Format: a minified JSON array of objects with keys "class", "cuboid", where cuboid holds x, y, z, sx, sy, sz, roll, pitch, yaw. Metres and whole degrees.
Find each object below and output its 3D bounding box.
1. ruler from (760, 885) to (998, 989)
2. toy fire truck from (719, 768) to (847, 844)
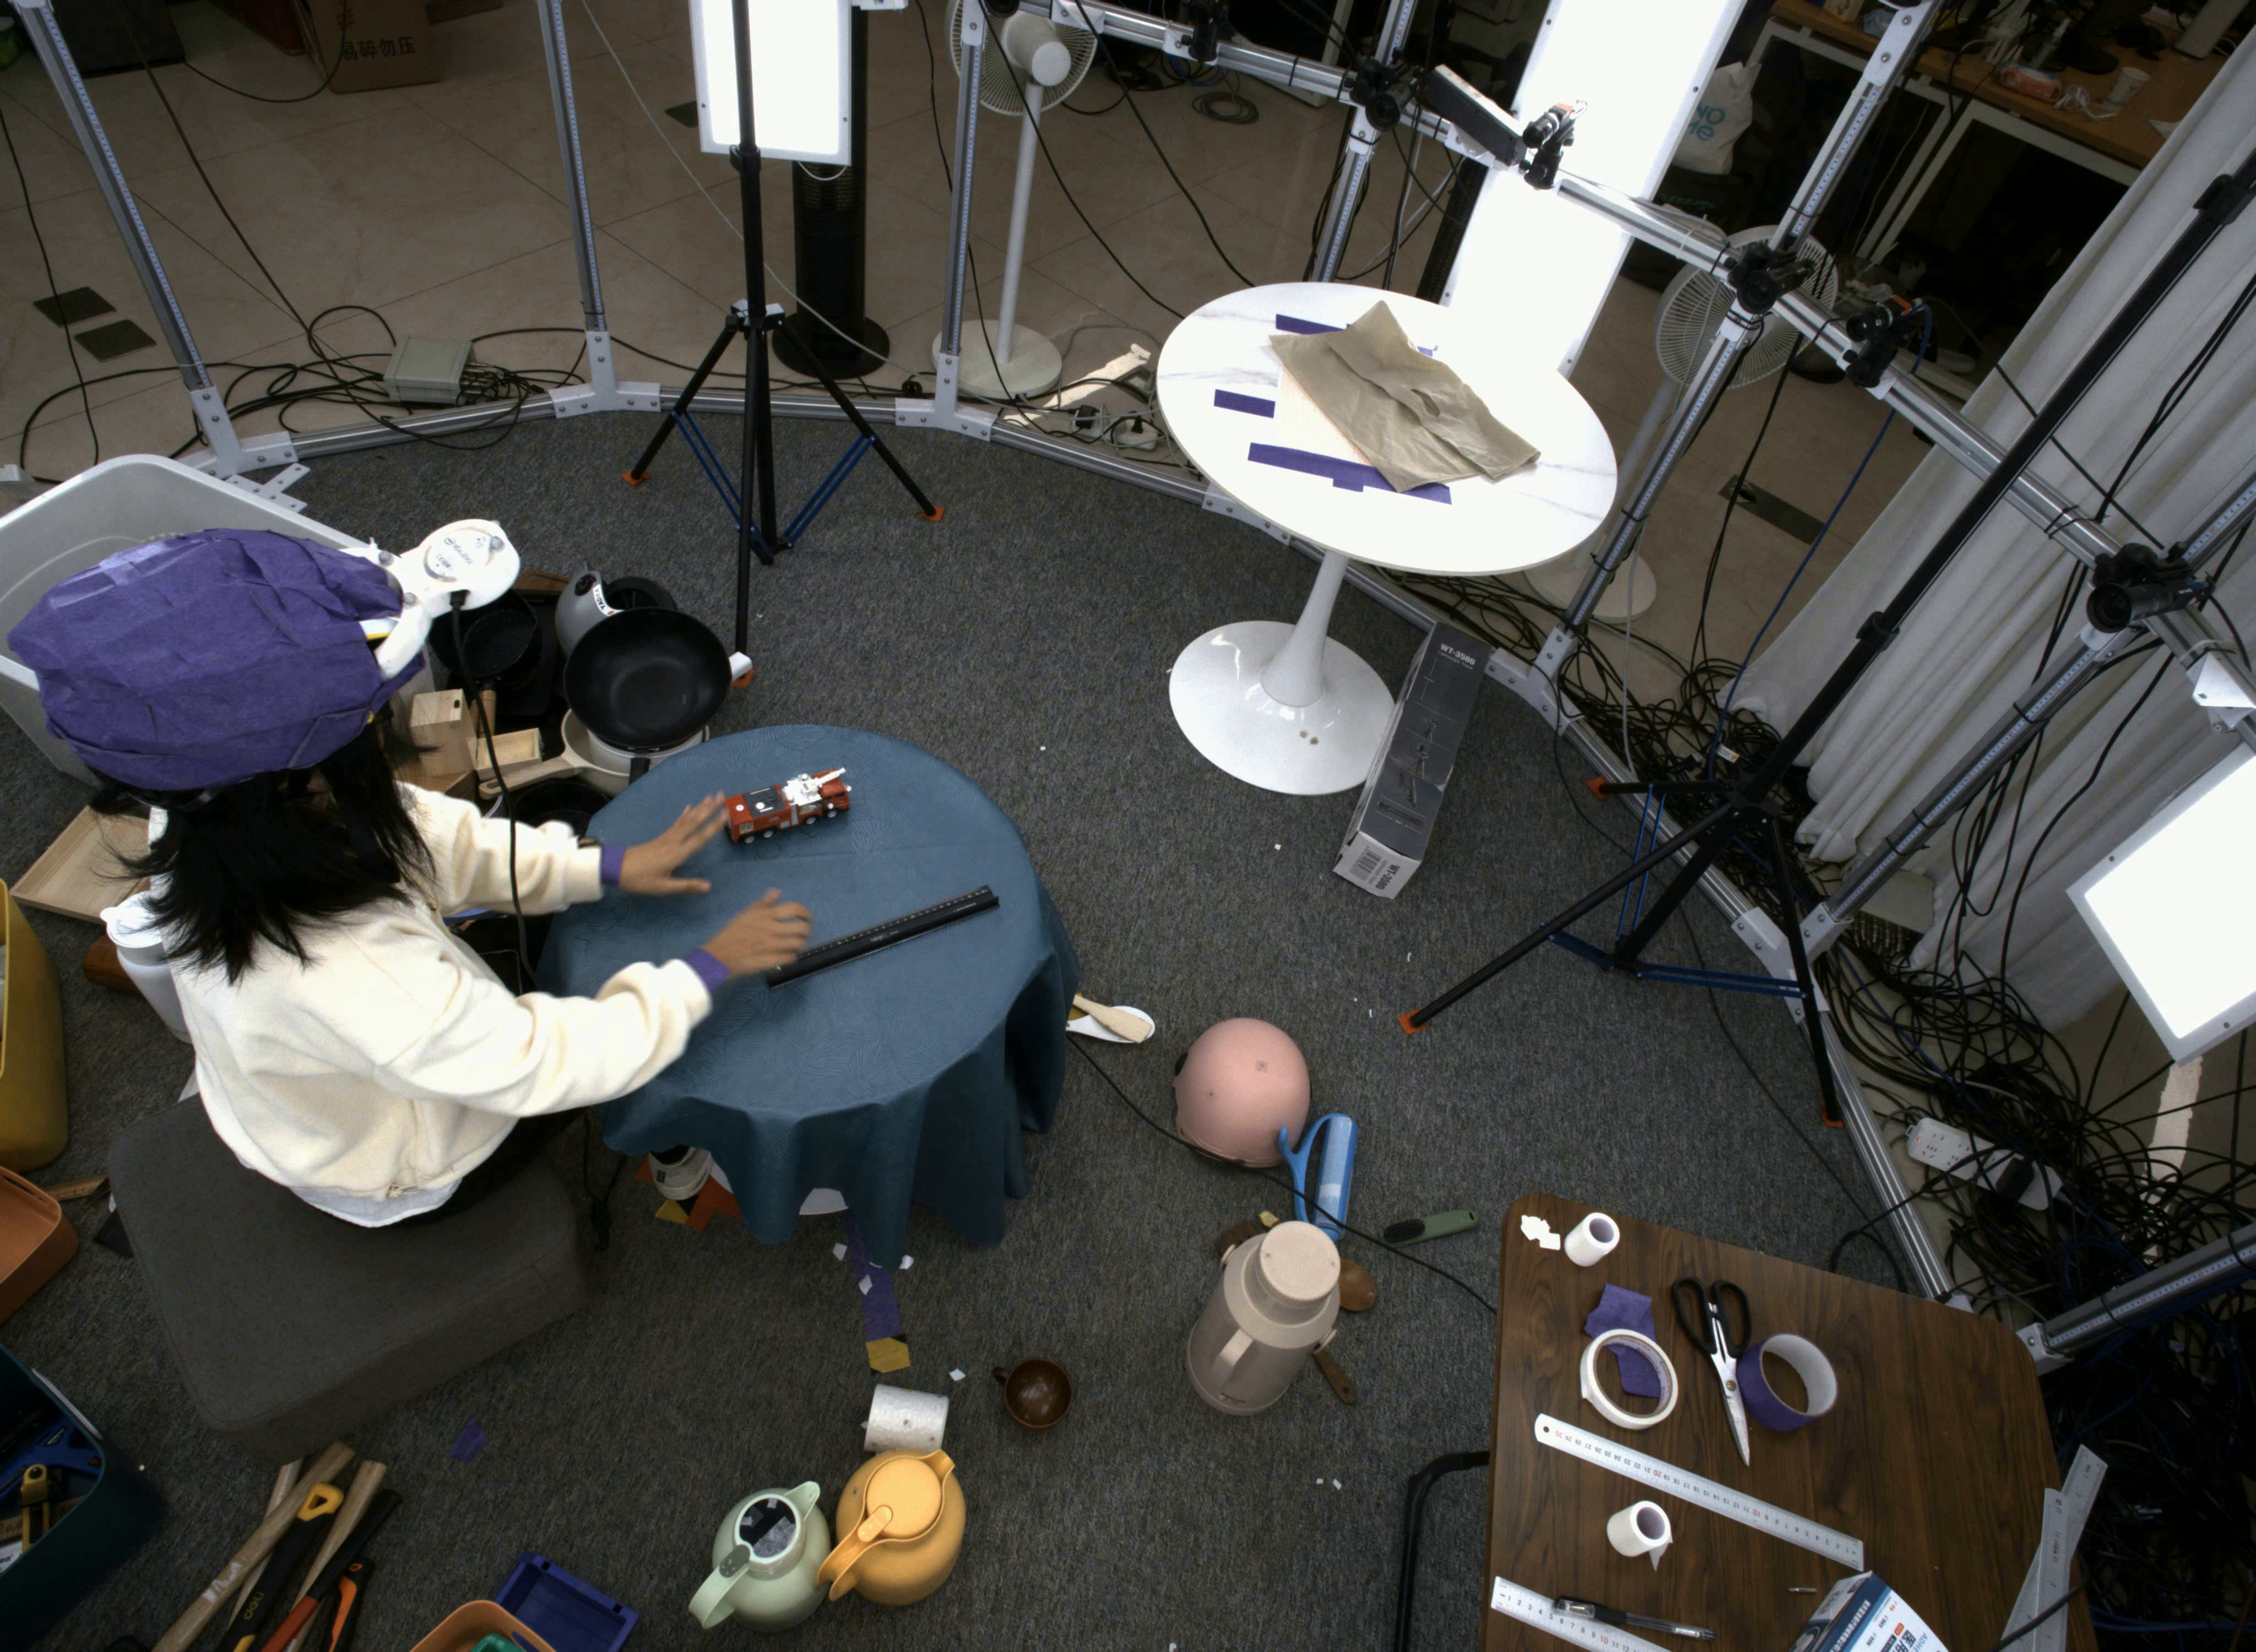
[{"class":"ruler","cuboid":[-0.309,0.131,1.641,0.314,0.017,0.038,-19,57,-26]},{"class":"toy fire truck","cuboid":[-0.450,-0.029,1.697,0.168,0.072,0.052,-20,60,-25]}]
